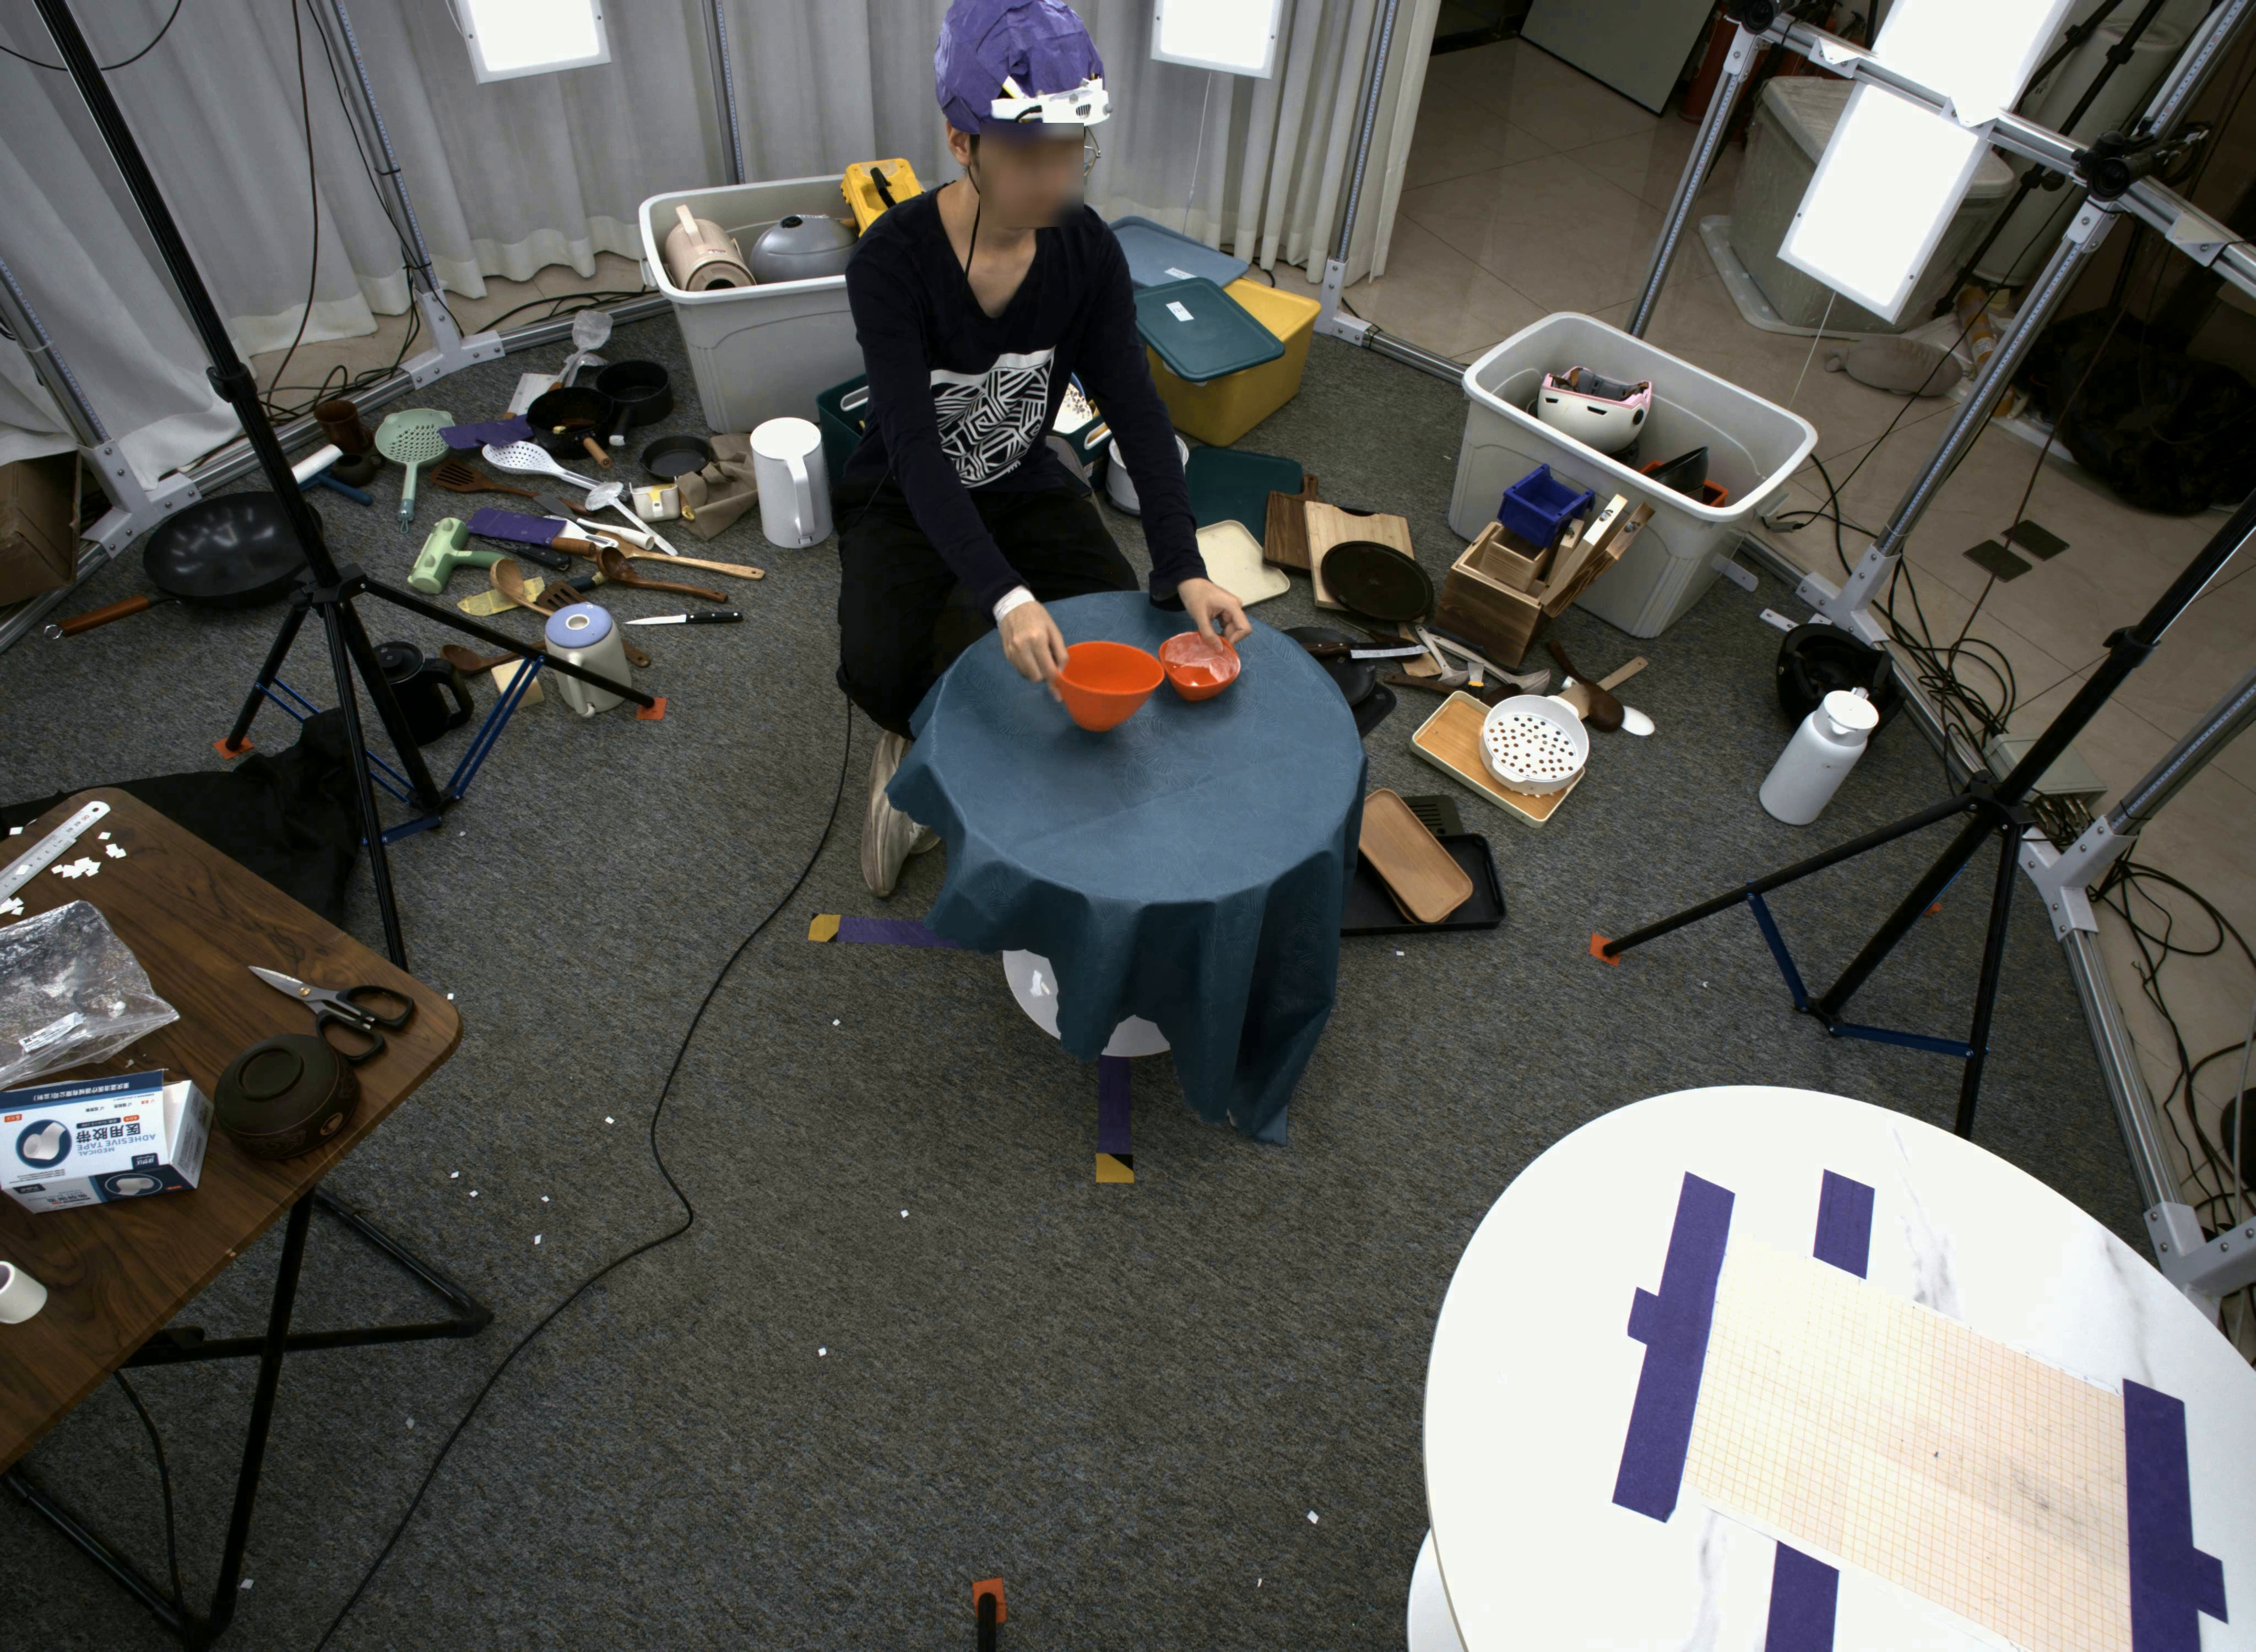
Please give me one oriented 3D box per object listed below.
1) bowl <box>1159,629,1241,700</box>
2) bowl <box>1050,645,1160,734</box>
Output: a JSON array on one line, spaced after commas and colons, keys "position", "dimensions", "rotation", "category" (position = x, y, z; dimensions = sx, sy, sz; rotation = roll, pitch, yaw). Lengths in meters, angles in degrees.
[{"position": [0.100, -0.224, 1.834], "dimensions": [0.119, 0.050, 0.122], "rotation": [2, 51, -2], "category": "bowl"}, {"position": [-0.037, -0.176, 1.725], "dimensions": [0.148, 0.102, 0.152], "rotation": [6, 42, -6], "category": "bowl"}]
